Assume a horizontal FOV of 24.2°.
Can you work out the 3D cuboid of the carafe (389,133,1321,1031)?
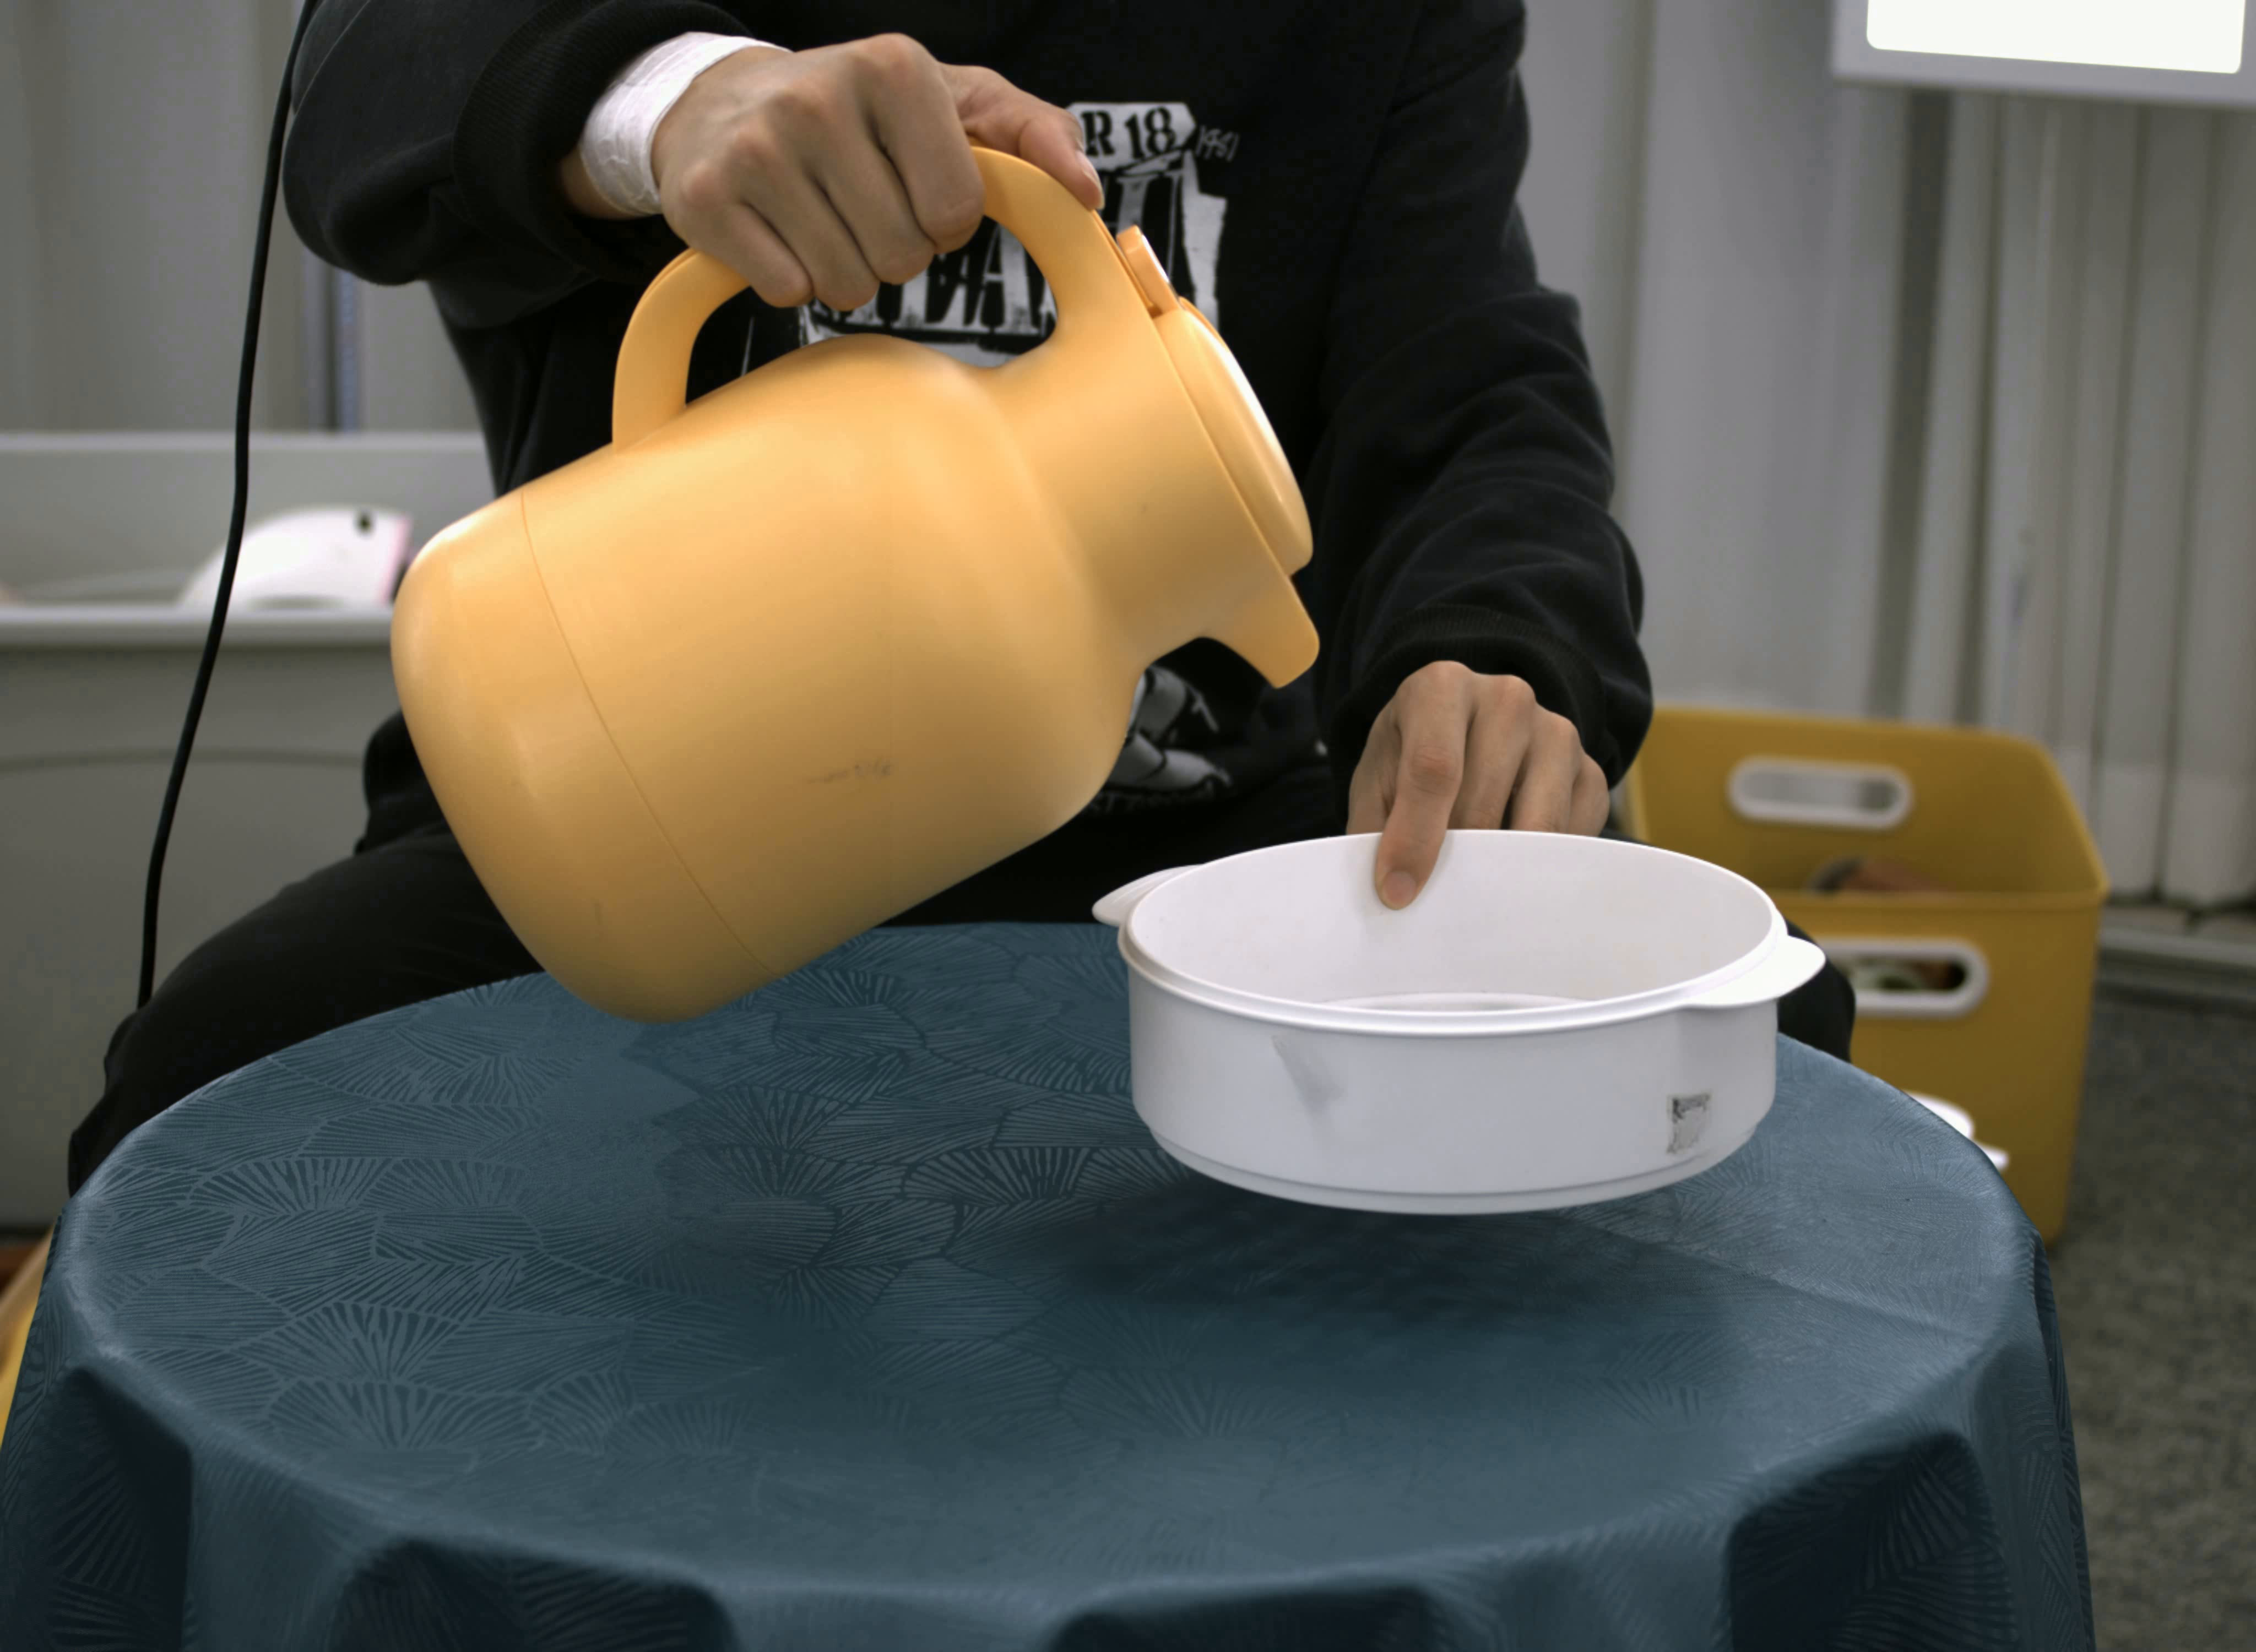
[{"bbox_3d":[-0.084,-0.077,1.529,0.260,0.204,0.162,-28,12,3],"label":"carafe"}]

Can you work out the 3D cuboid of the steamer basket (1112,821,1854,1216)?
[{"bbox_3d":[0.103,0.057,1.577,0.228,0.070,0.202,11,19,27],"label":"steamer basket"}]
